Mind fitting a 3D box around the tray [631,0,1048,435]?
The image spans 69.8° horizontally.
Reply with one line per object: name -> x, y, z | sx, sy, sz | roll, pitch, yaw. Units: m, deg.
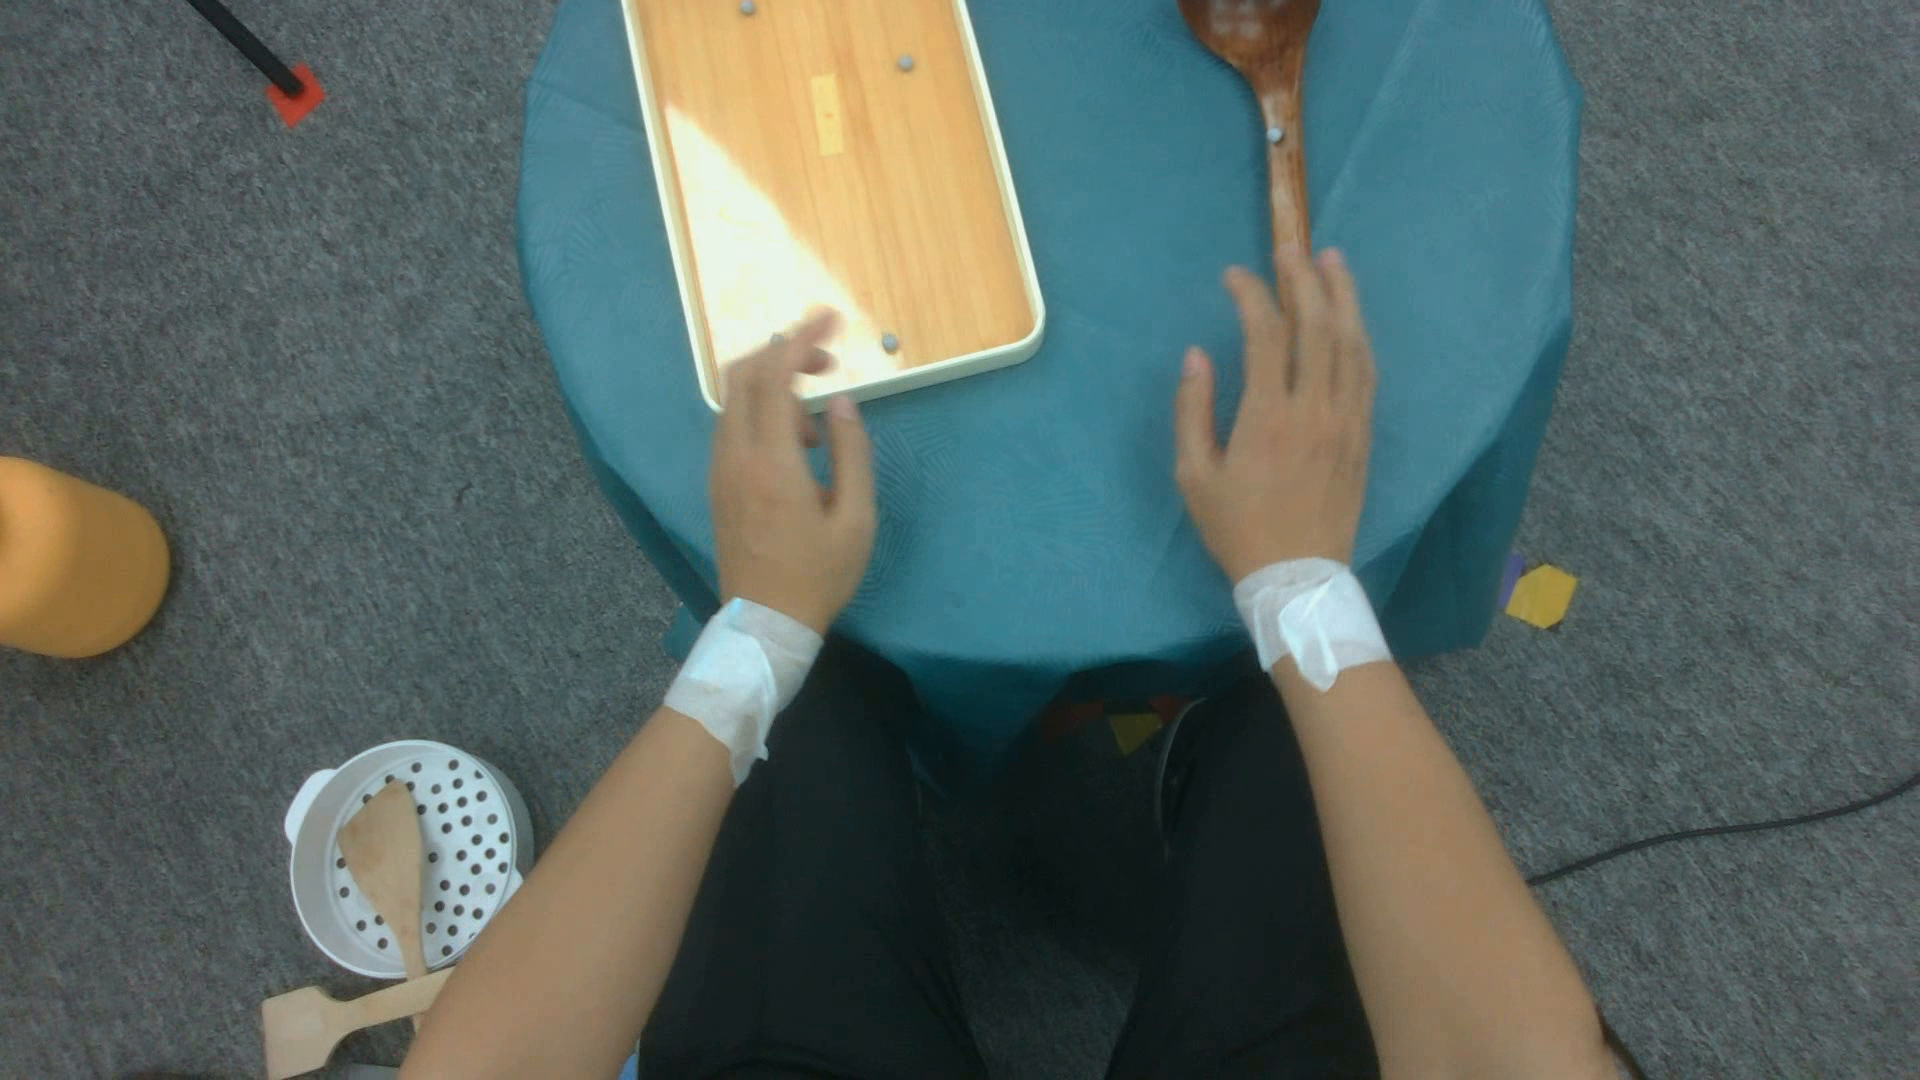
tray -> -0.073, -0.220, 0.793 | 0.191, 0.027, 0.301 | -13, 76, 1

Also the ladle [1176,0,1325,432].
ladle -> 0.165, -0.198, 0.749 | 0.081, 0.077, 0.274 | -13, 73, 44
